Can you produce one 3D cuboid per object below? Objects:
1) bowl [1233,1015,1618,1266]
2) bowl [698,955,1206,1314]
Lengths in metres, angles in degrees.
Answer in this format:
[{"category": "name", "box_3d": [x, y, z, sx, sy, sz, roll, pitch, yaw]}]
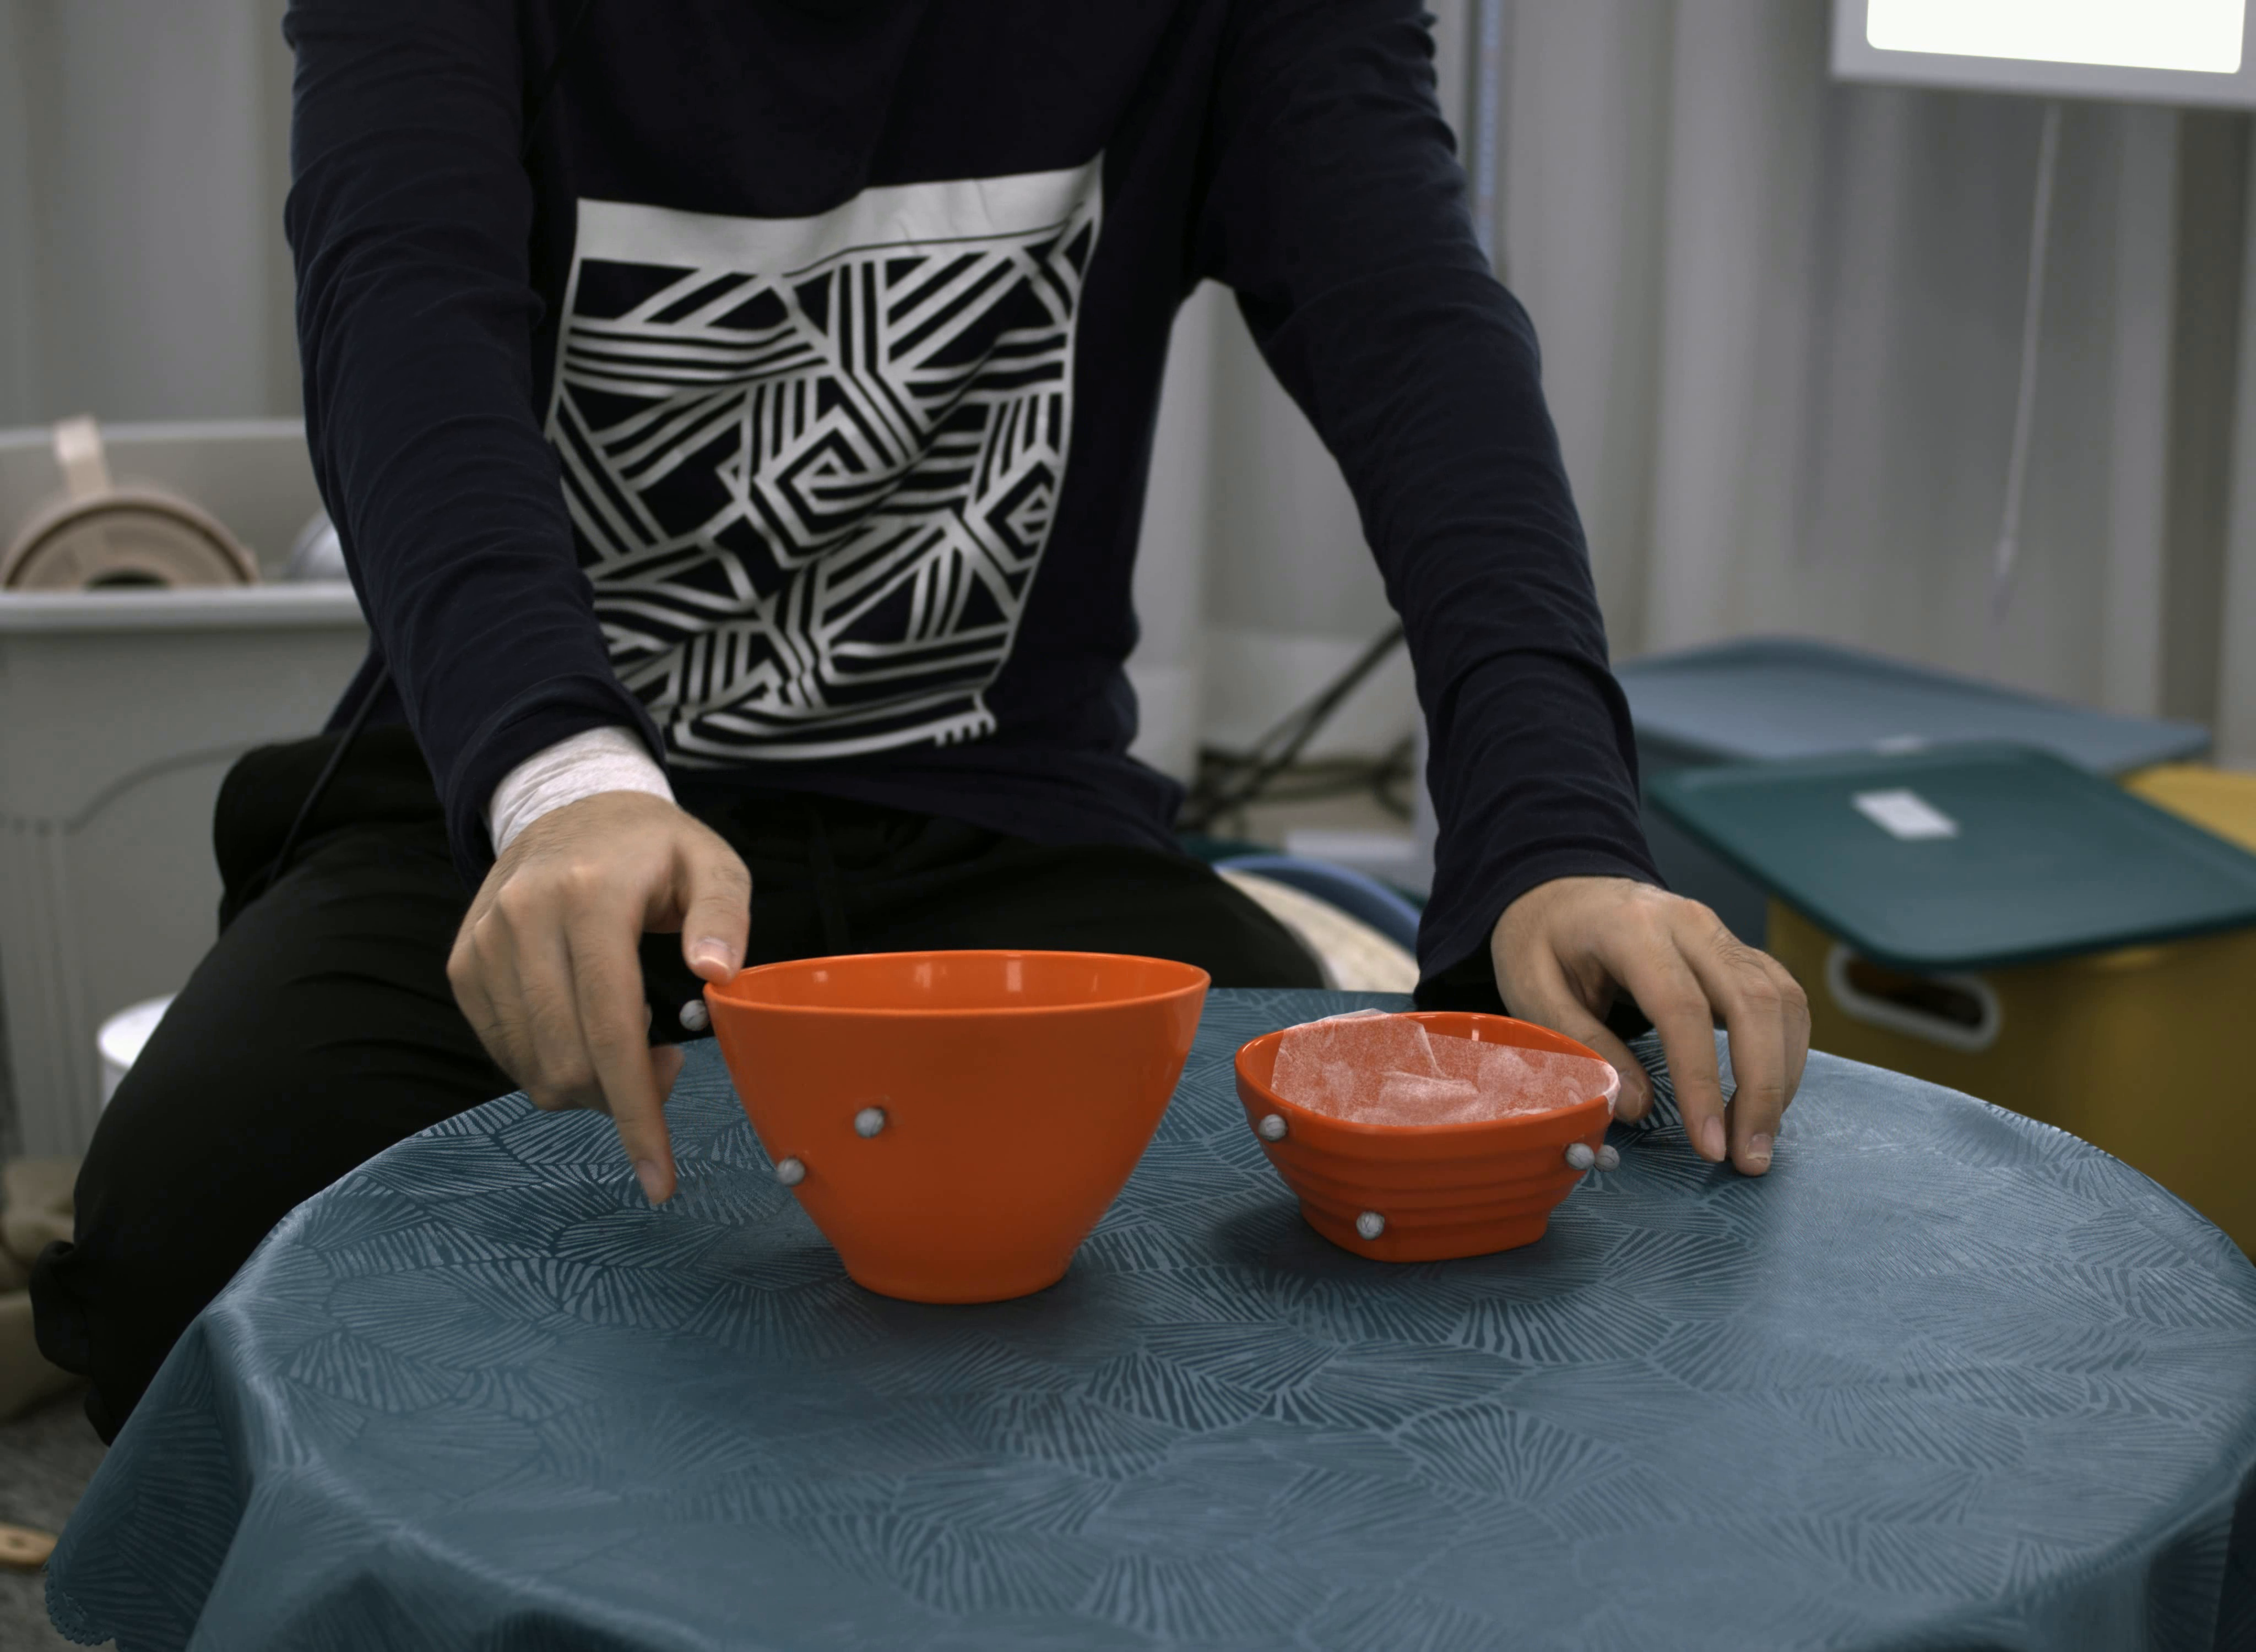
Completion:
[{"category": "bowl", "box_3d": [0.090, 0.097, 1.593, 0.118, 0.052, 0.118, -1, 15, 1]}, {"category": "bowl", "box_3d": [-0.051, 0.086, 1.533, 0.147, 0.105, 0.147, 0, 14, 1]}]
